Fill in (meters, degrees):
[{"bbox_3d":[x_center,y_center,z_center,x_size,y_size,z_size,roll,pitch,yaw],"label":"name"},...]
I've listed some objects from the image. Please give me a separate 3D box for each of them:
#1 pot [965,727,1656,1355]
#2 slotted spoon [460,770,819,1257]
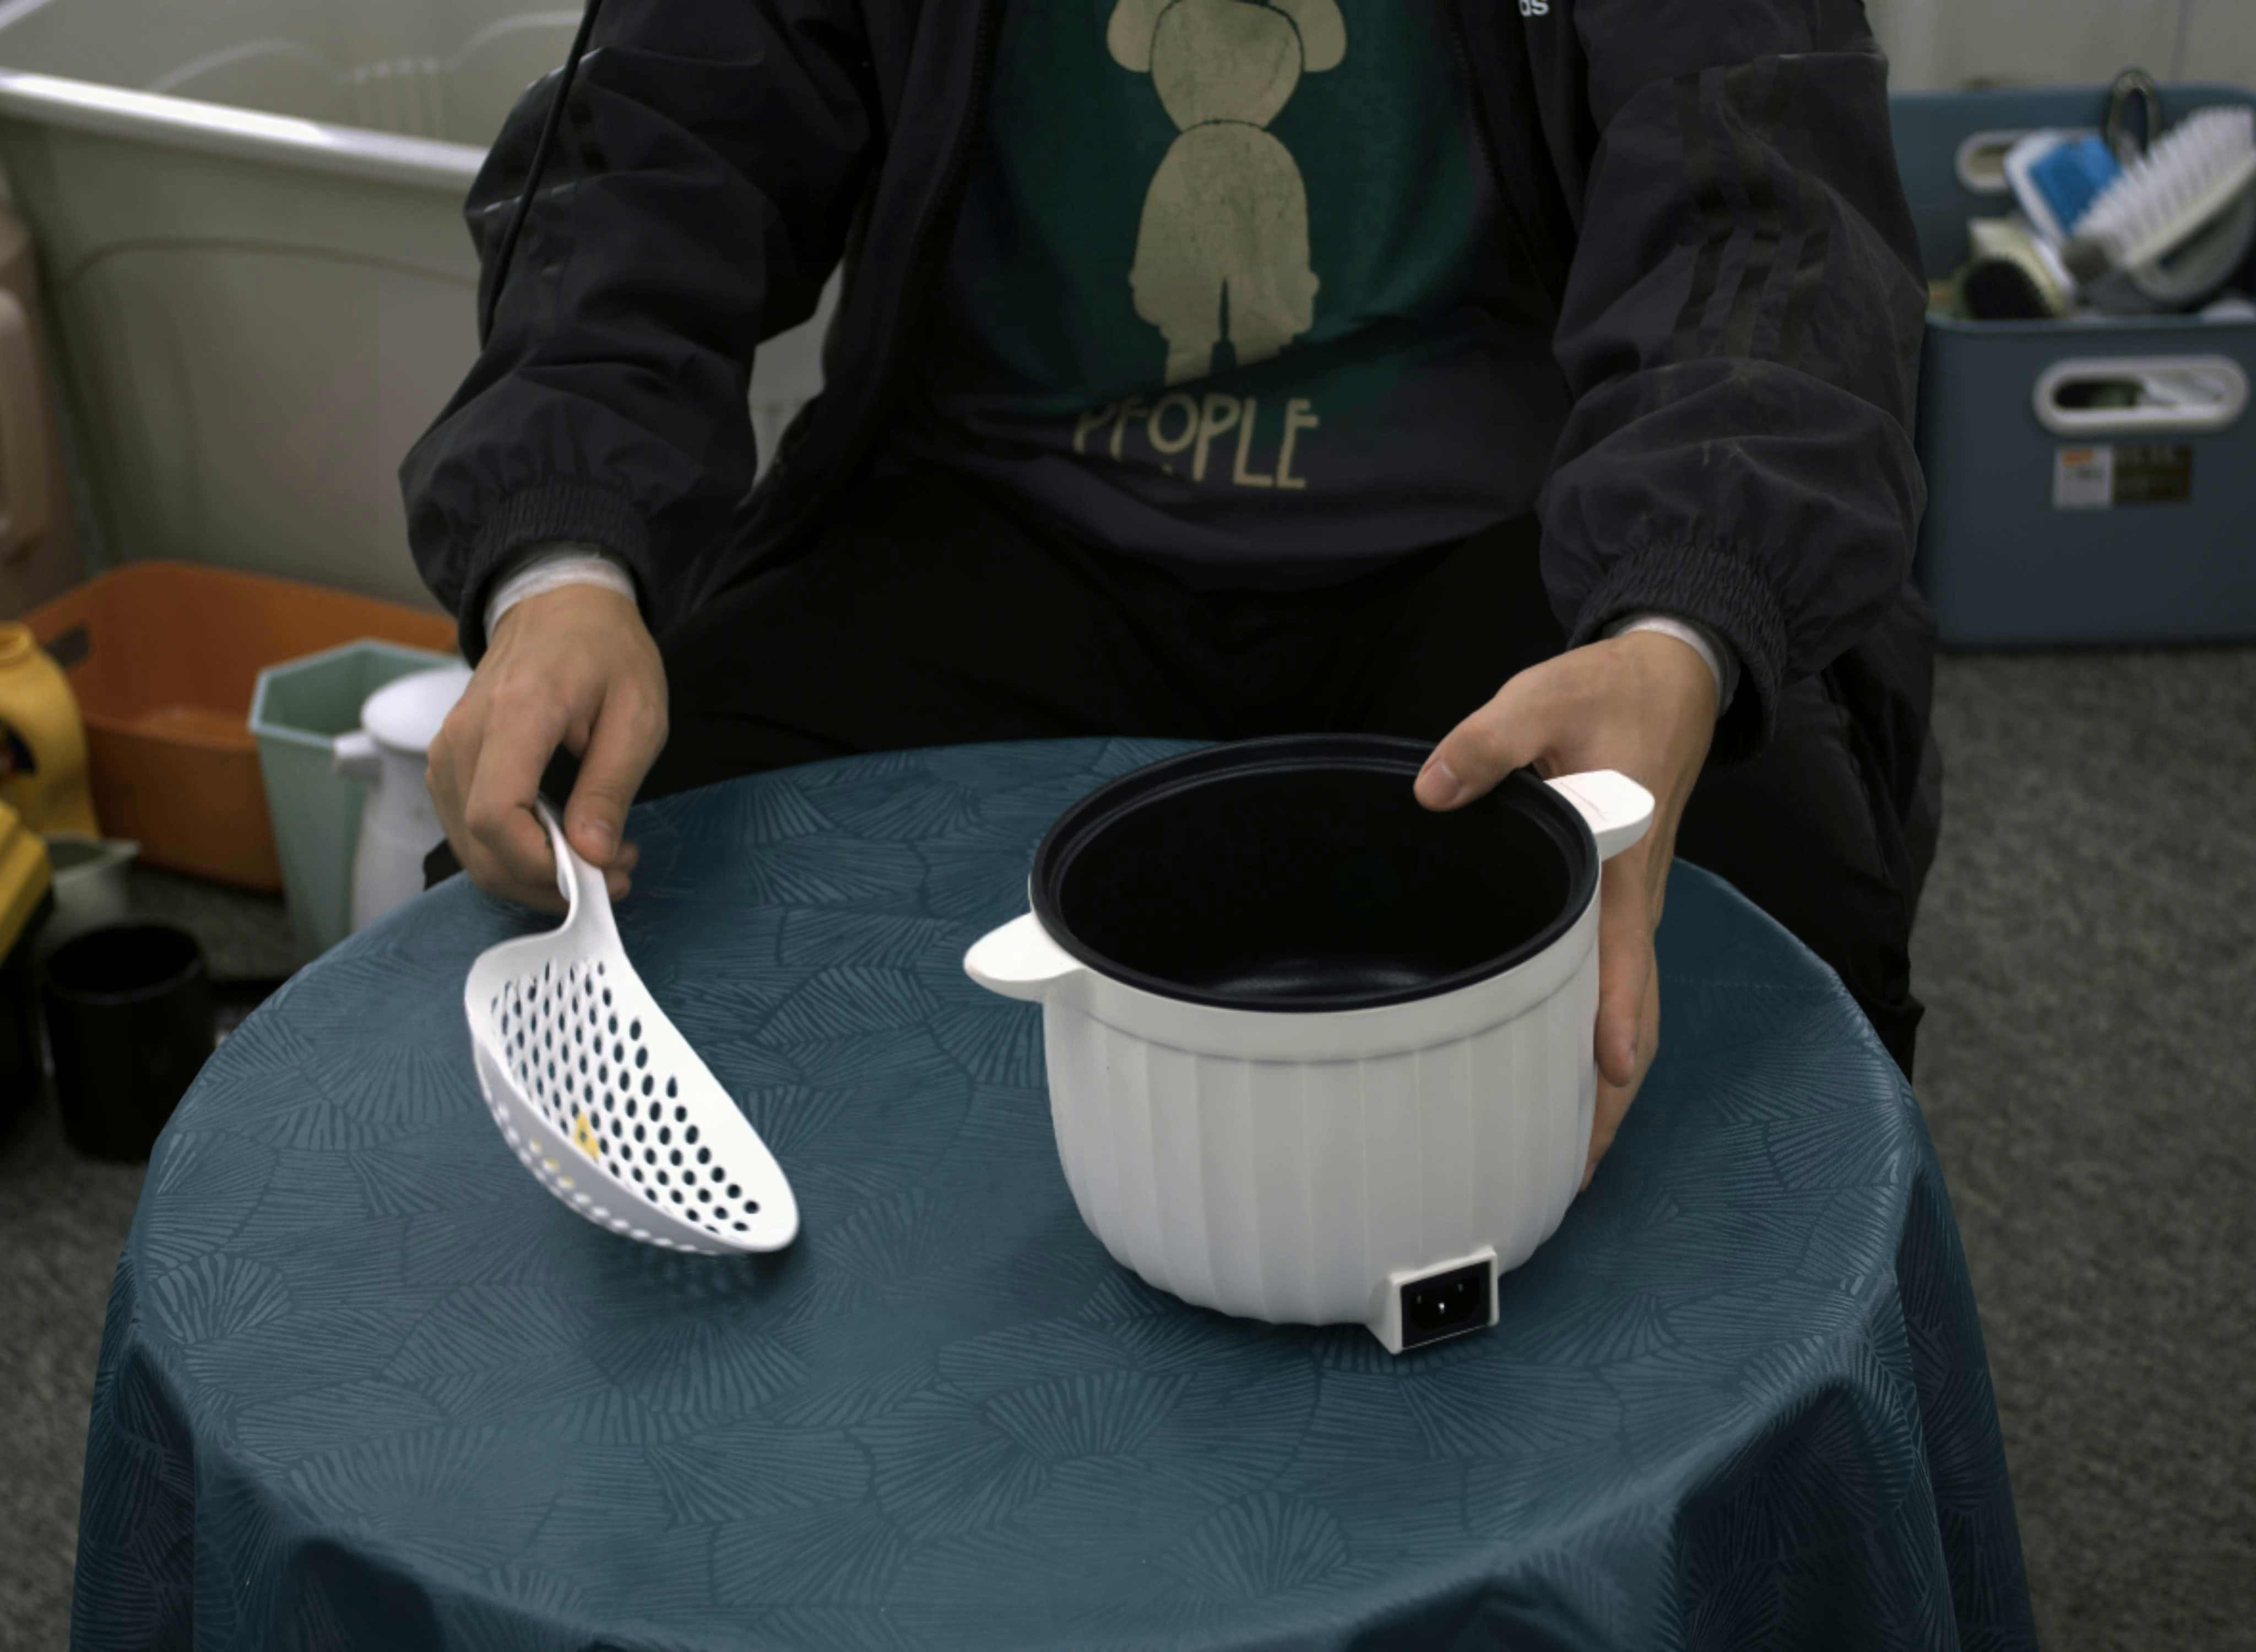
[{"bbox_3d":[0.059,0.068,1.808,0.241,0.141,0.192,-13,32,-21],"label":"pot"},{"bbox_3d":[-0.188,0.053,1.928,0.136,0.050,0.352,29,20,-24],"label":"slotted spoon"}]
